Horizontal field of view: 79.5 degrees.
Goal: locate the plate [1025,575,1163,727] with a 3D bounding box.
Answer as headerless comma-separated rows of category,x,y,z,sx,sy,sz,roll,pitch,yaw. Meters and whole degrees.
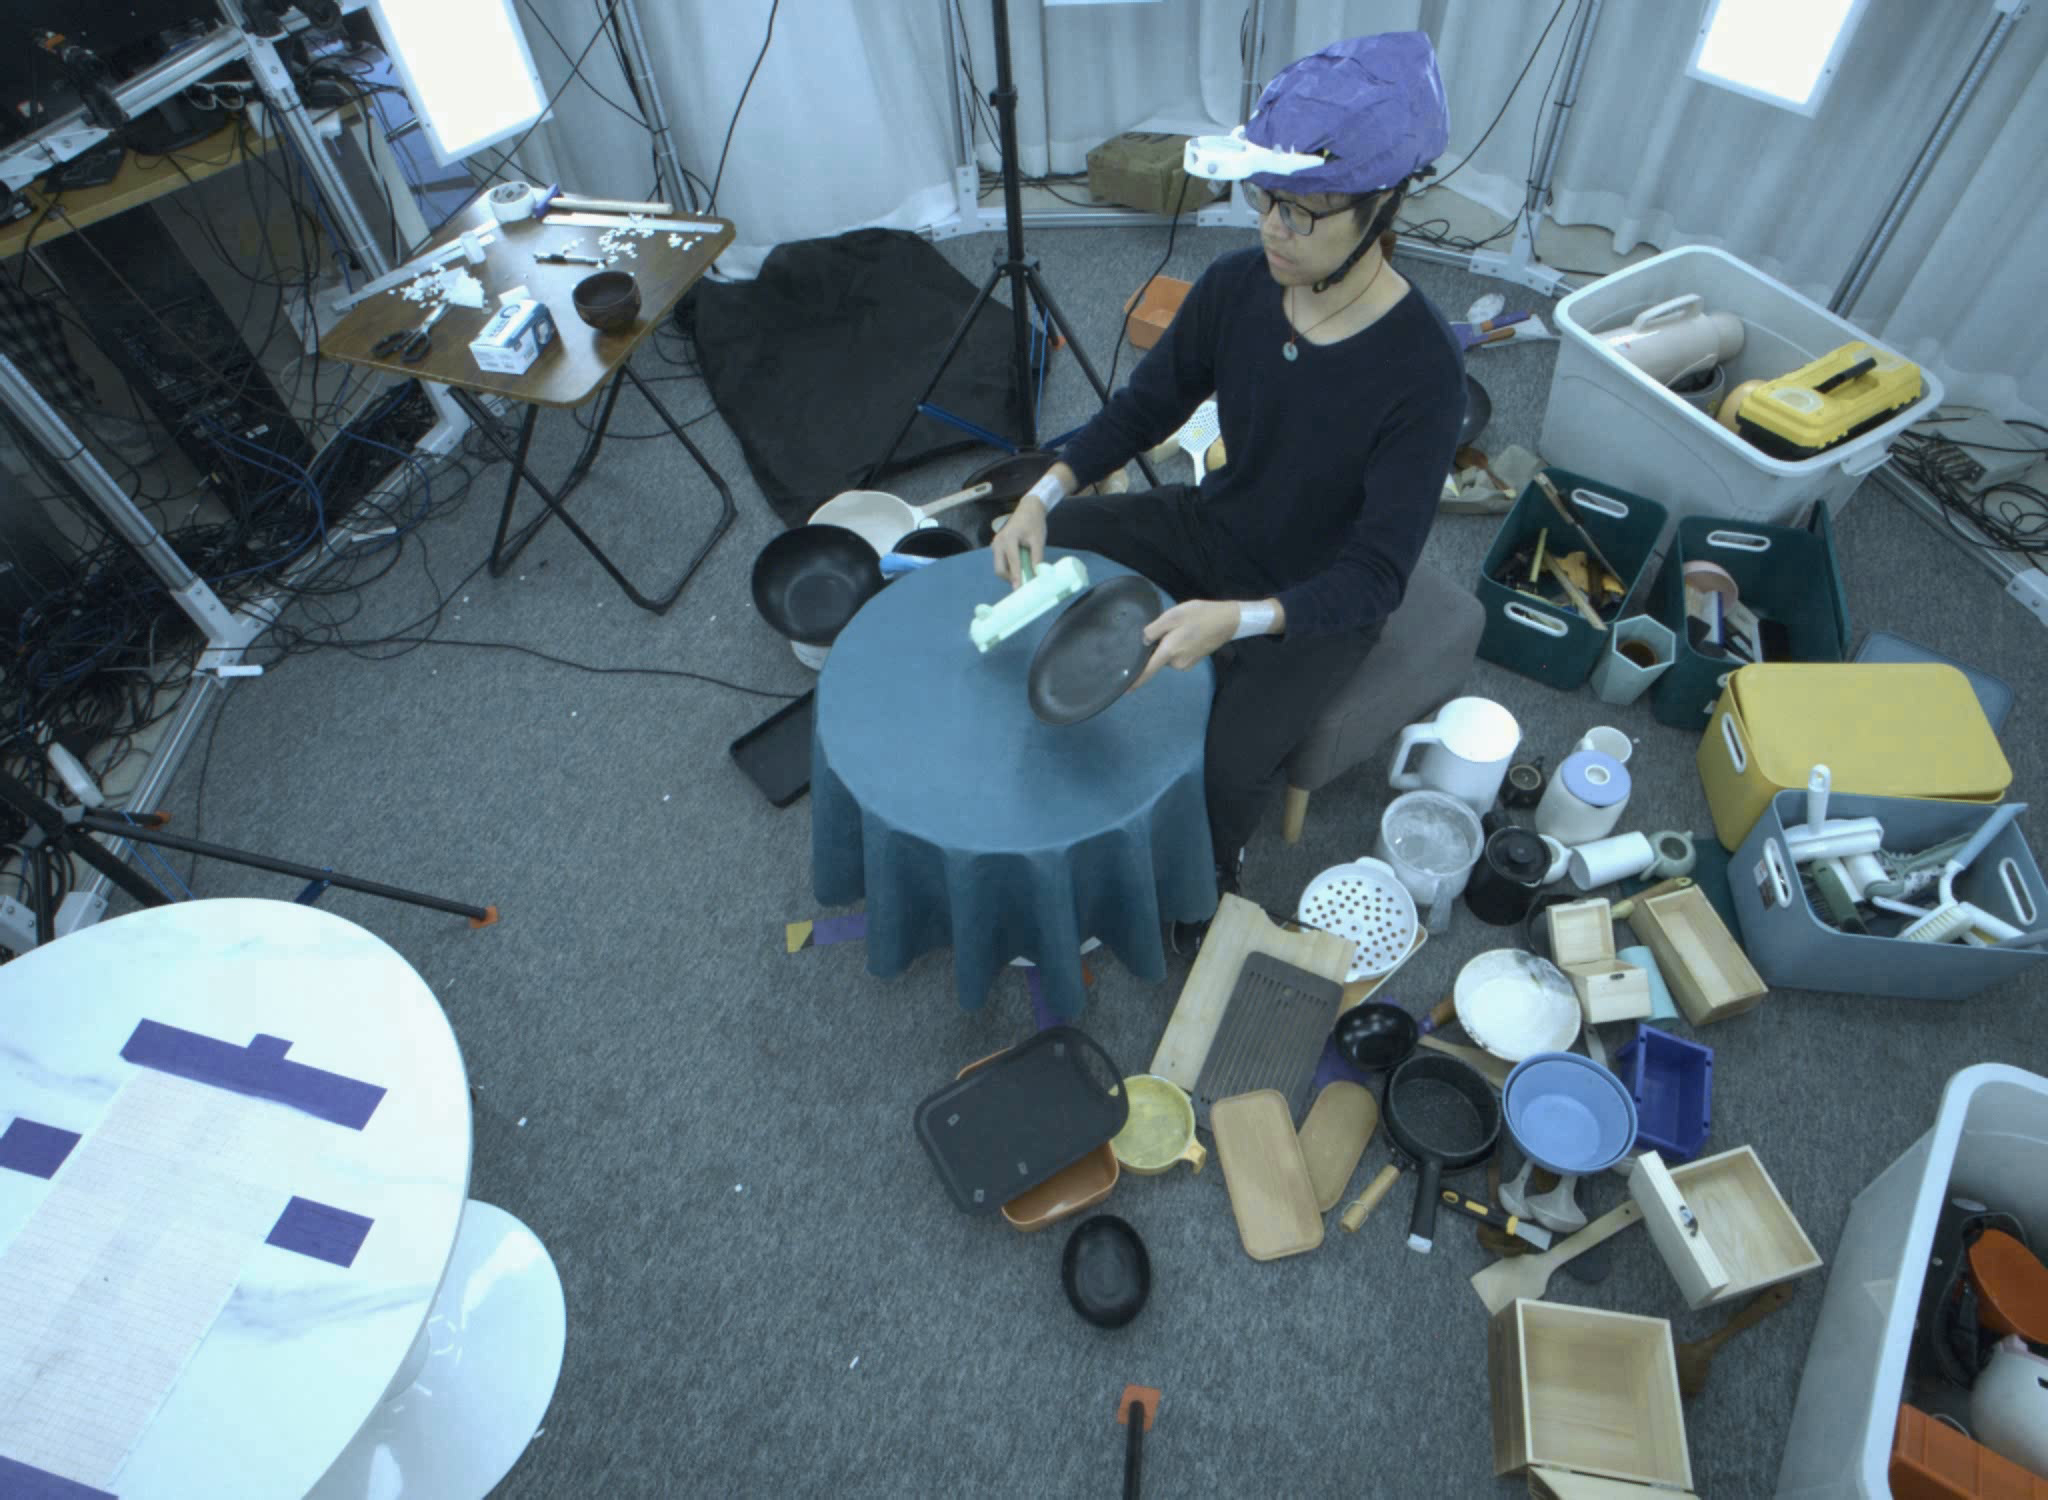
plate,0.097,-0.132,1.680,0.241,0.024,0.242,-29,42,31

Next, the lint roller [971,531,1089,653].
lint roller,-0.012,-0.264,1.821,0.196,0.084,0.181,-31,62,25
